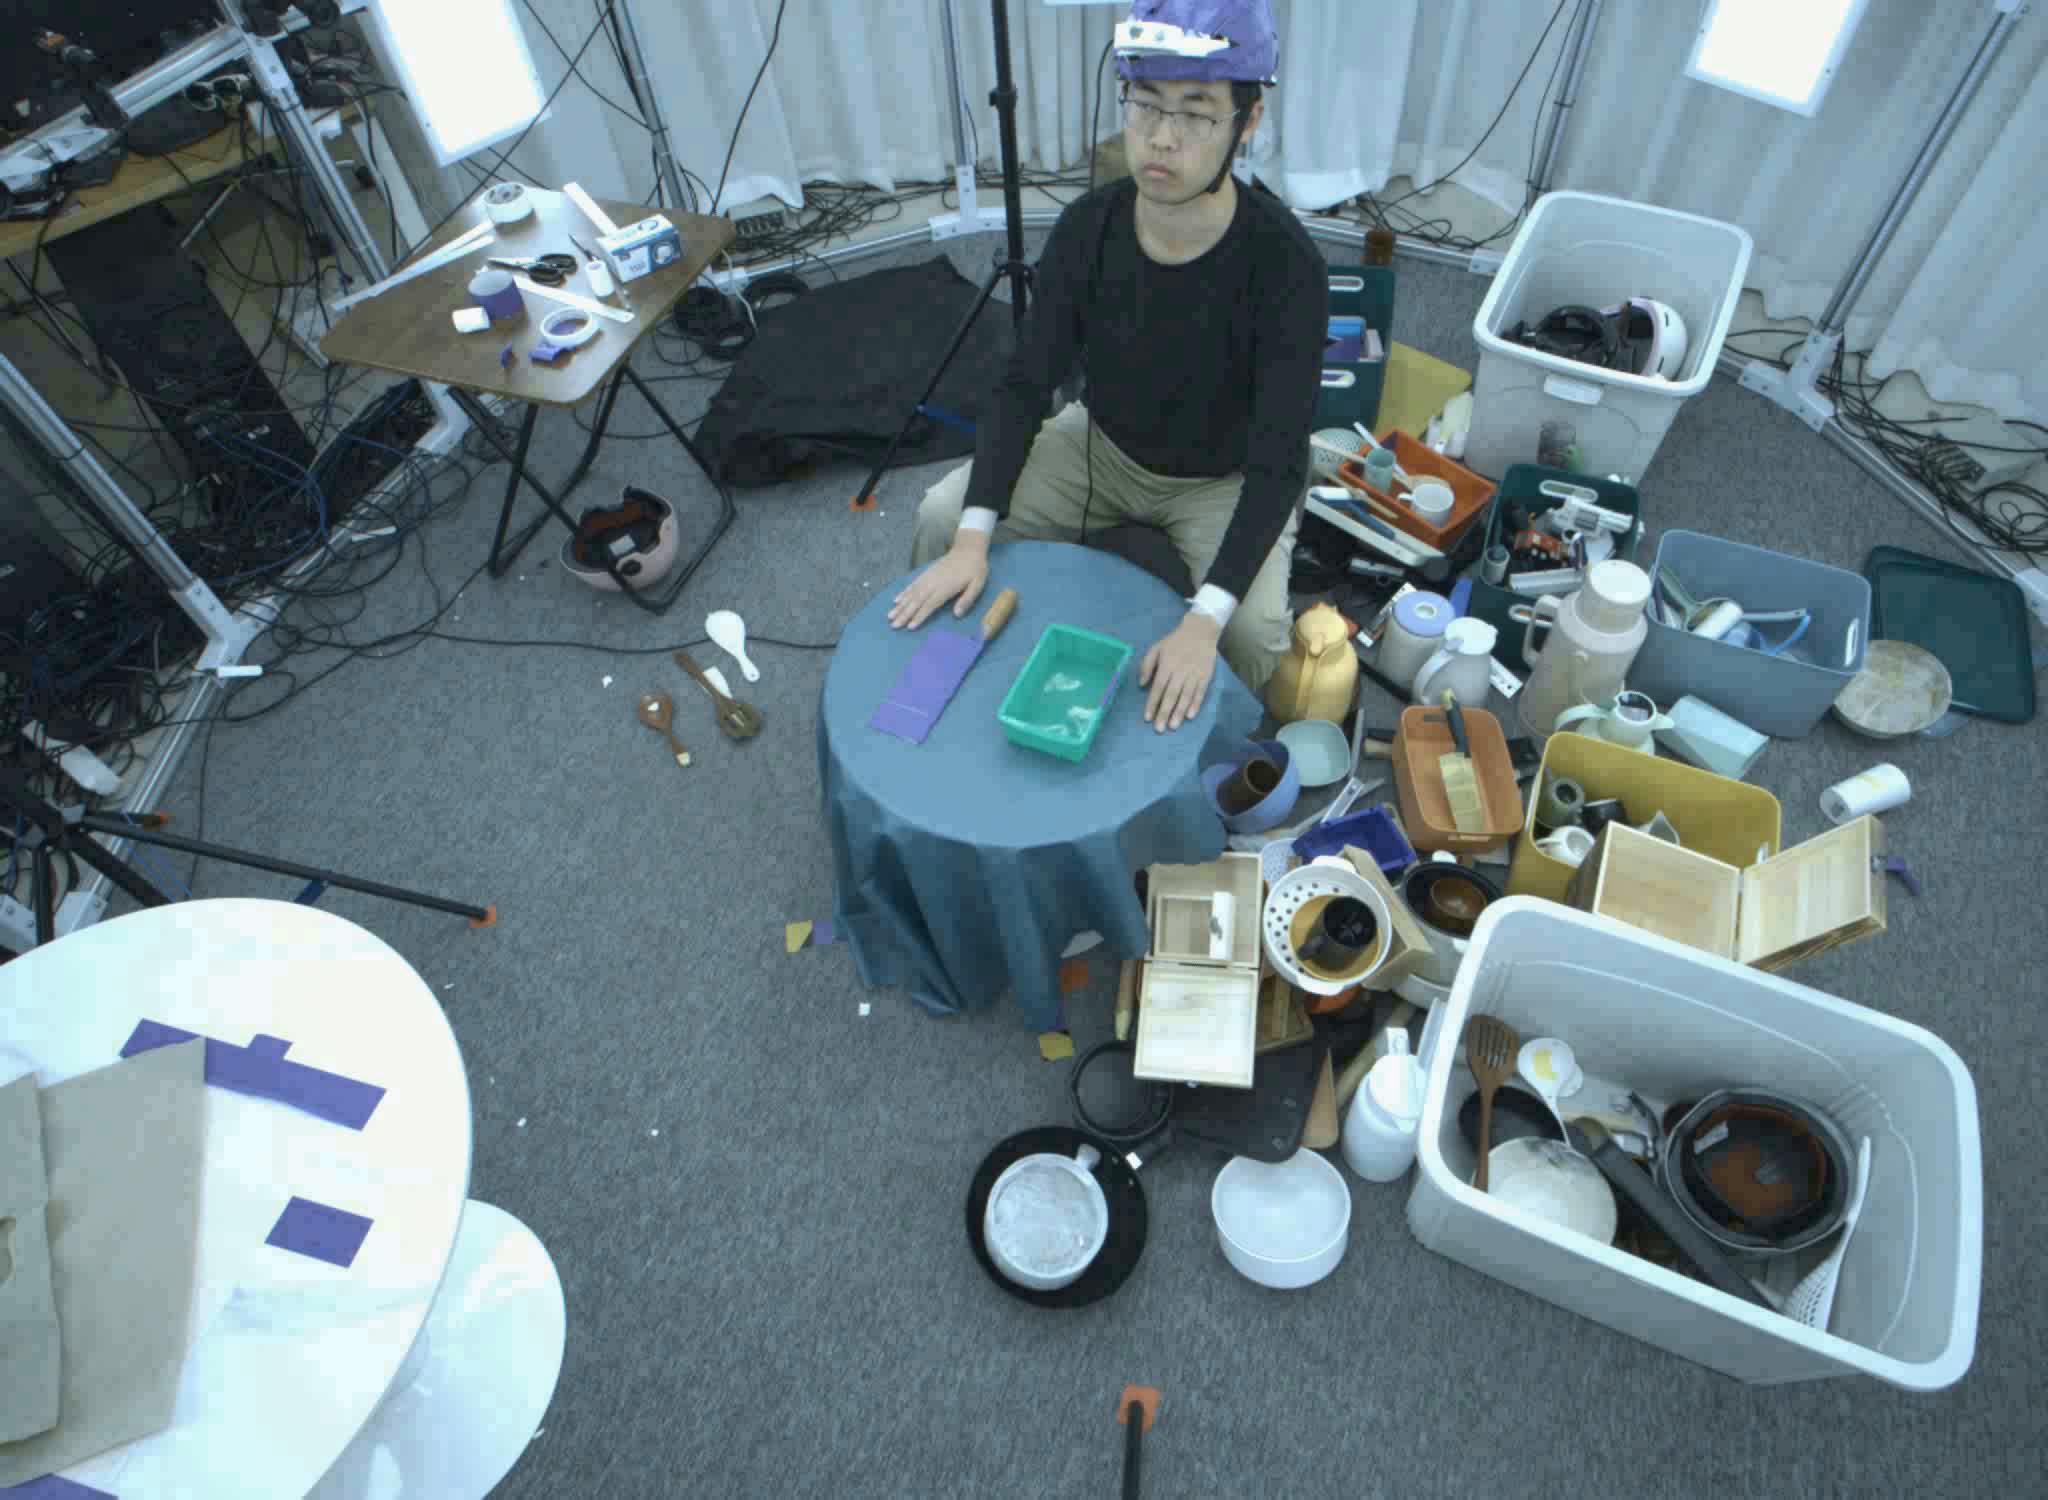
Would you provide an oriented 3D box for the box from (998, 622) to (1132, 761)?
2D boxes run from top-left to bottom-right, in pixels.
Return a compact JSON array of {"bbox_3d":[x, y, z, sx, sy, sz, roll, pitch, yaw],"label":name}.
[{"bbox_3d":[0.062,-0.085,1.807,0.137,0.066,0.210,19,56,13],"label":"box"}]

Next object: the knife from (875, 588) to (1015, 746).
[{"bbox_3d":[-0.122,-0.141,1.875,0.102,0.032,0.315,21,59,16],"label":"knife"}]
